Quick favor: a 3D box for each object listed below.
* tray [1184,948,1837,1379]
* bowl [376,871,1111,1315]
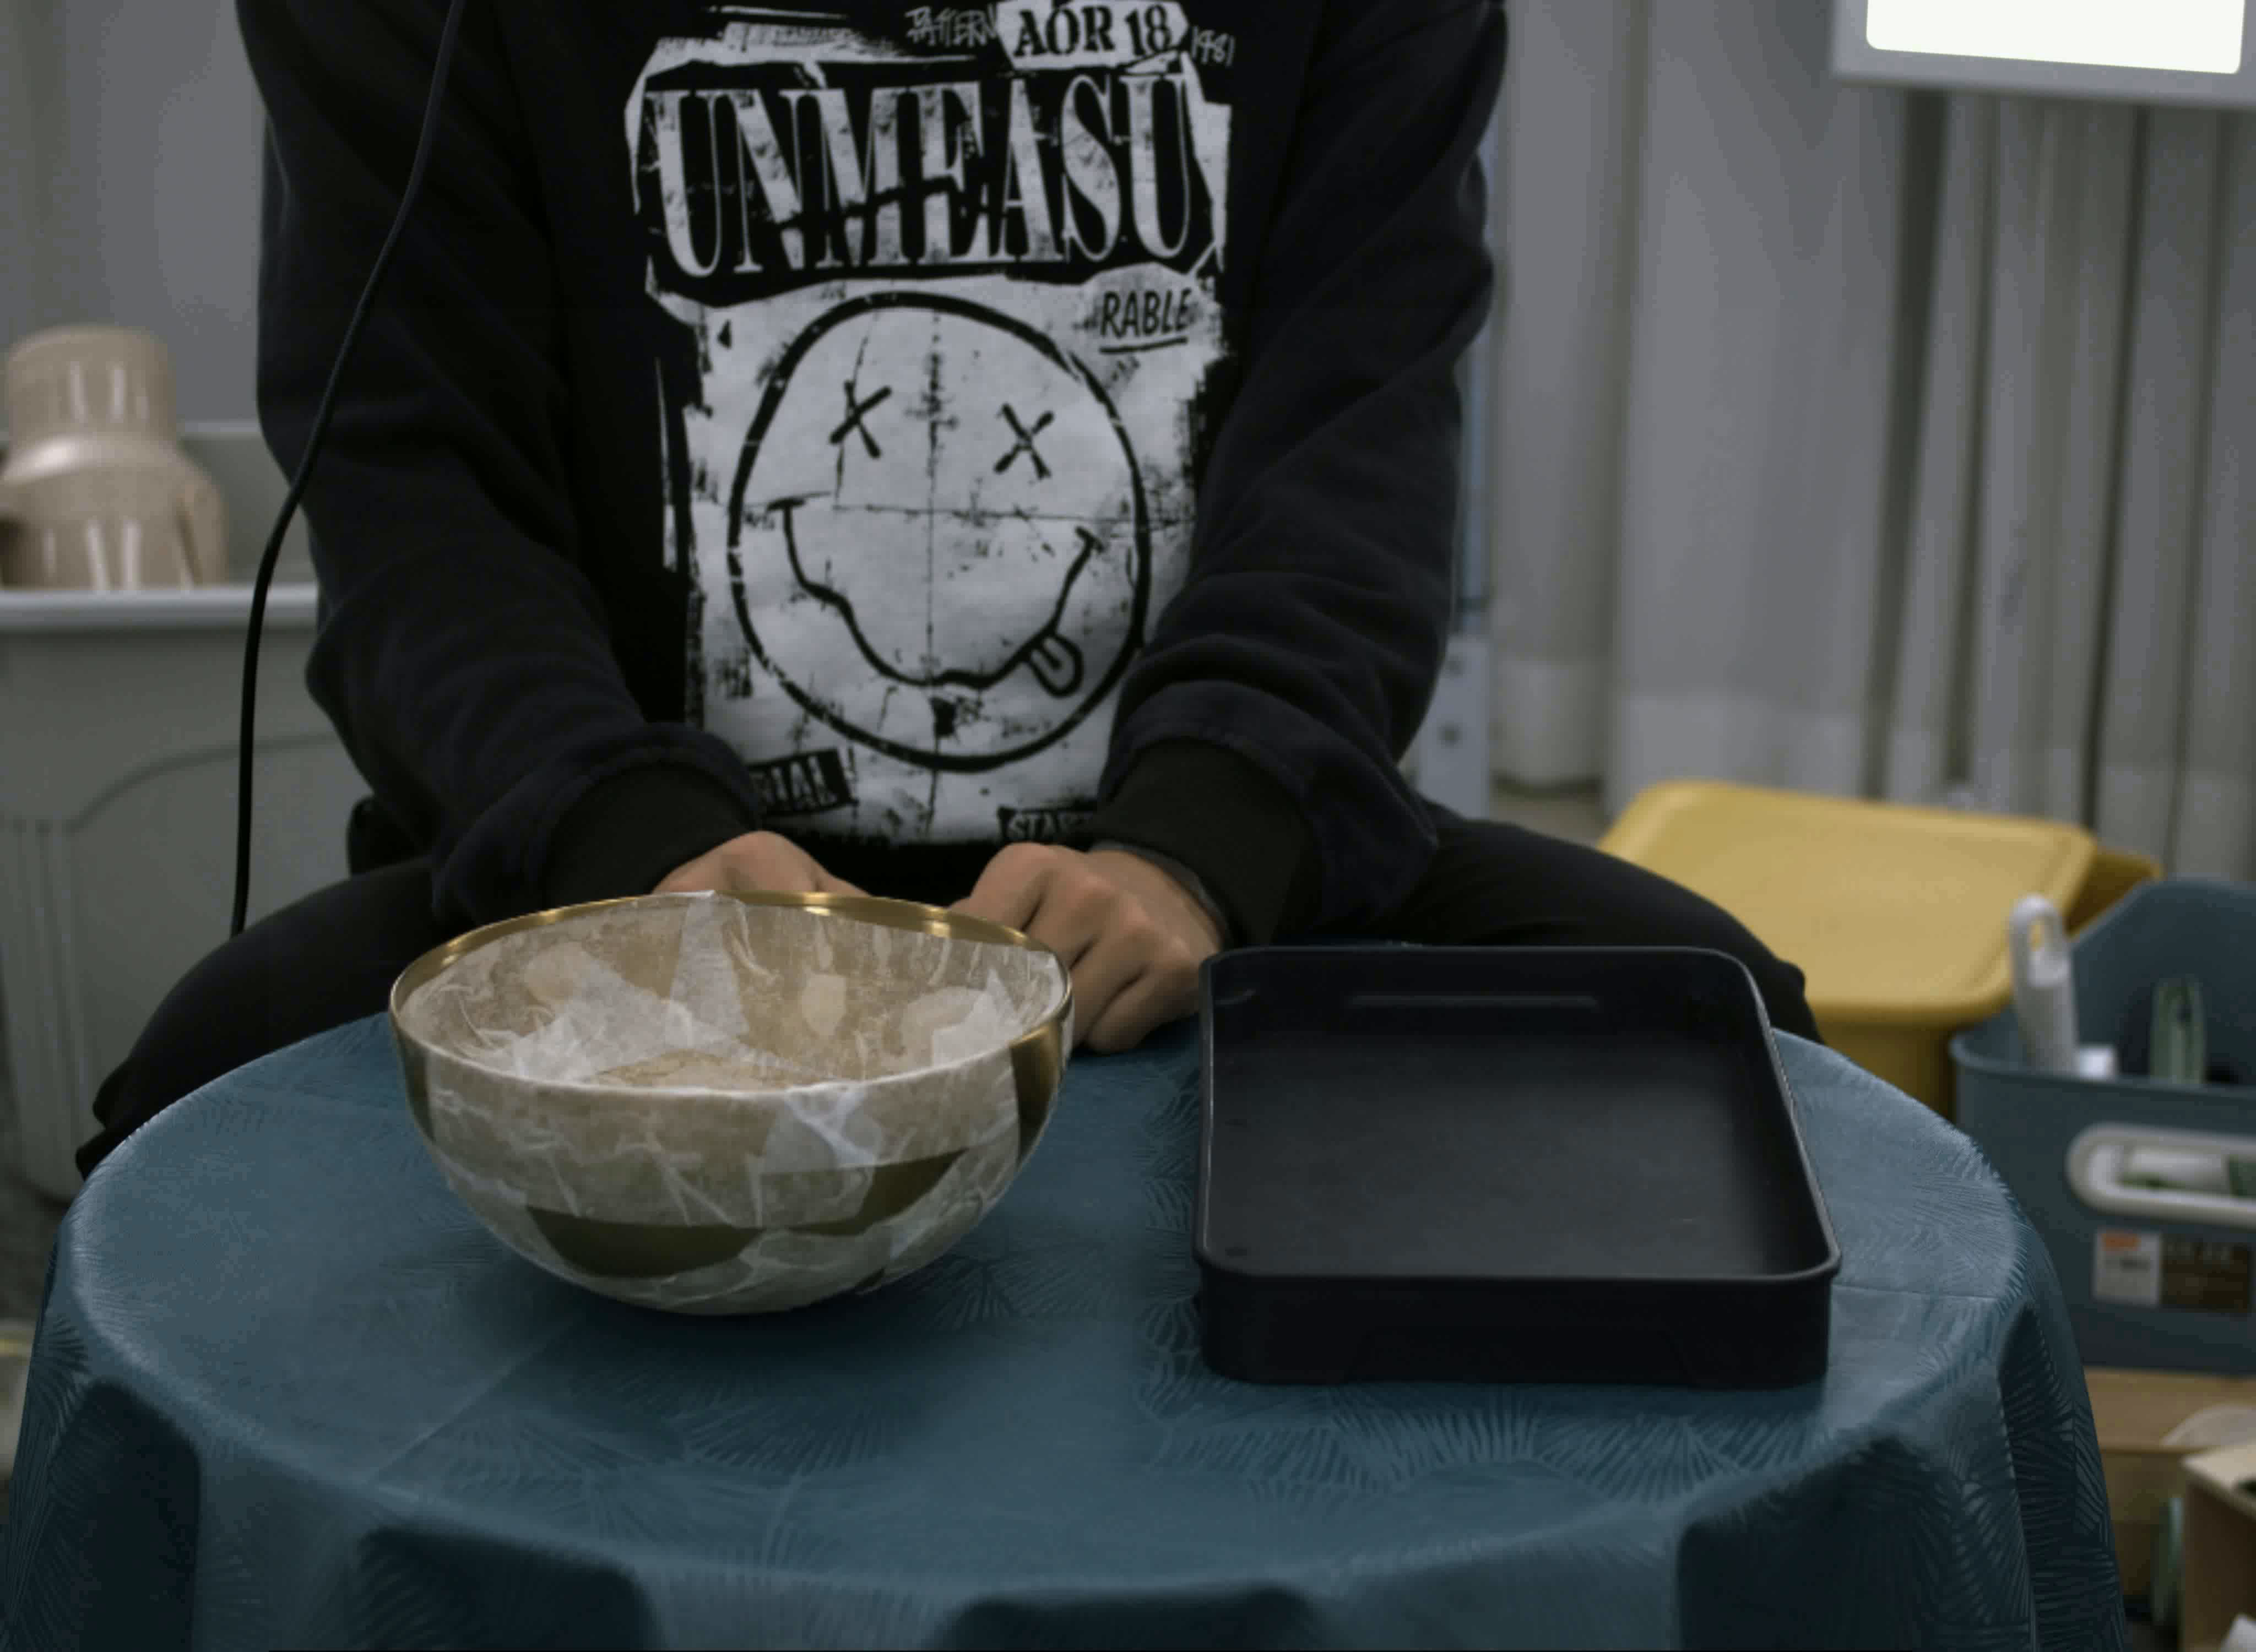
[{"bbox_3d":[0.112,0.098,1.612,0.183,0.037,0.316,0,15,2],"label":"tray"},{"bbox_3d":[-0.112,0.087,1.541,0.214,0.095,0.213,0,17,1],"label":"bowl"}]
